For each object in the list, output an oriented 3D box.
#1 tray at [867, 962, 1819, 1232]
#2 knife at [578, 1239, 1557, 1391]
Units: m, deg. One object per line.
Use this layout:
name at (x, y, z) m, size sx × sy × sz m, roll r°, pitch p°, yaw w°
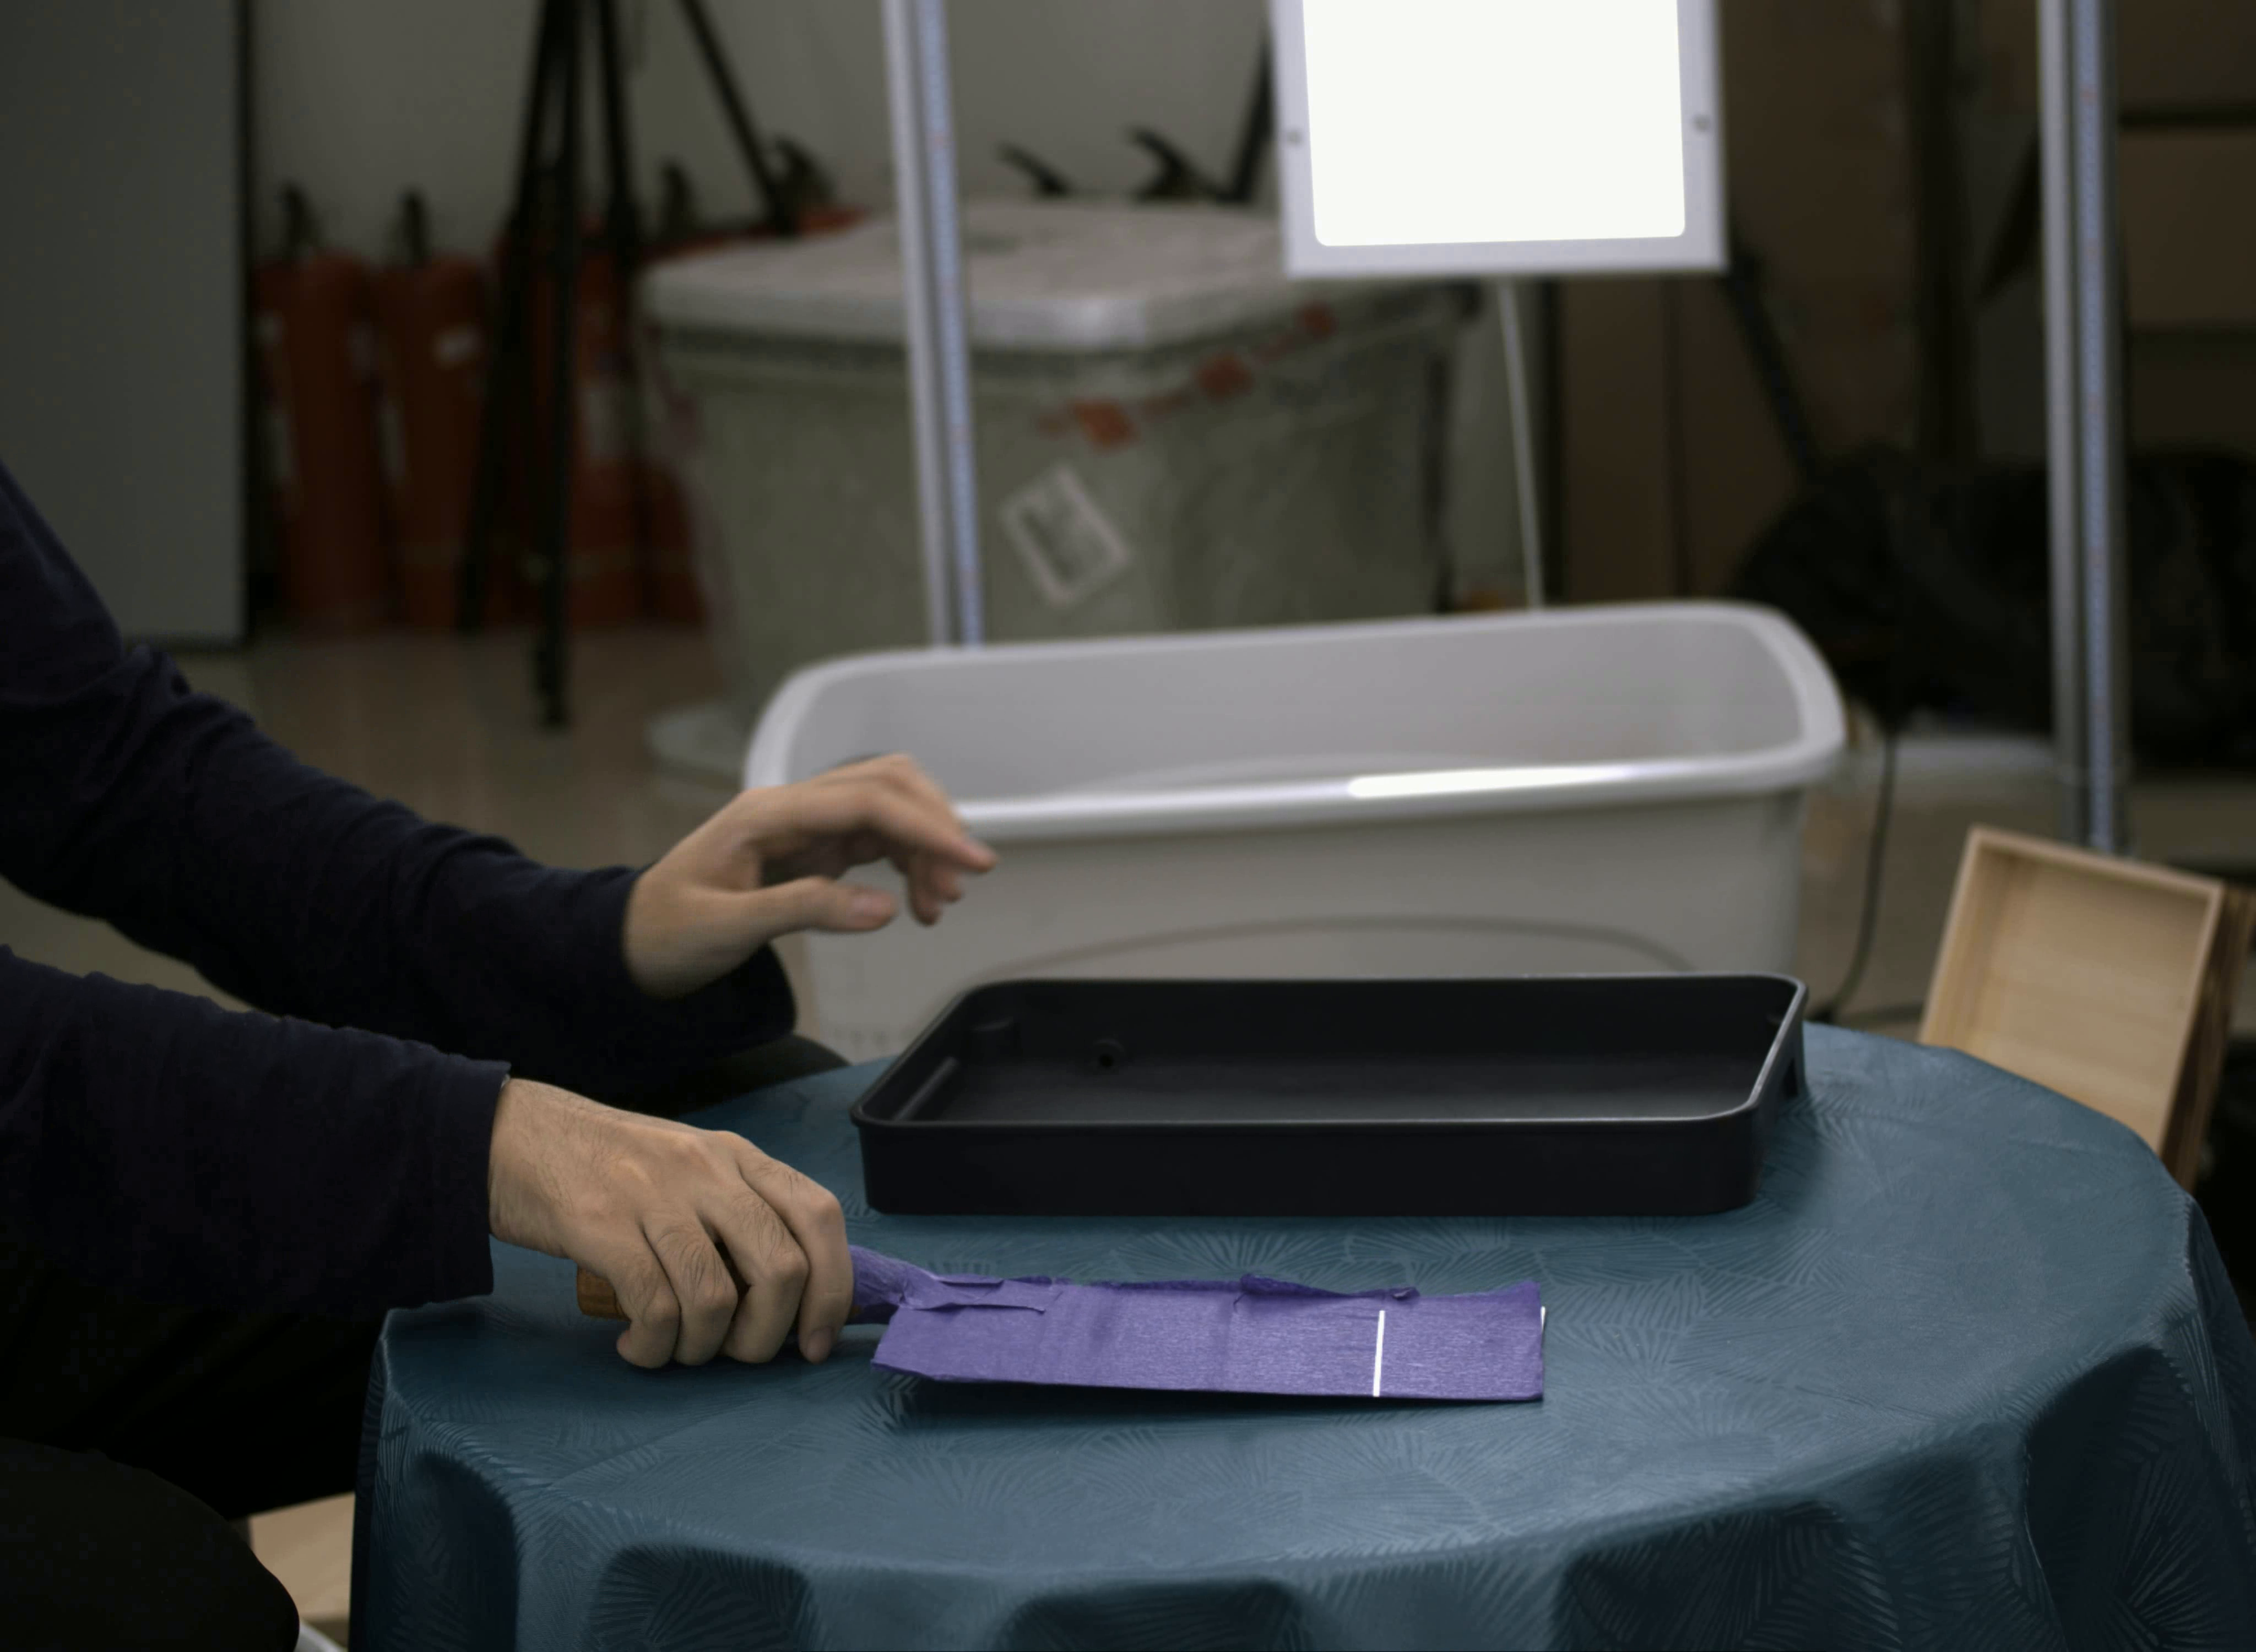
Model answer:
tray at (0.080, 0.094, 1.937) m, size 0.321 × 0.037 × 0.182 m, roll -3°, pitch 14°, yaw 15°
knife at (-0.023, 0.154, 1.726) m, size 0.316 × 0.032 × 0.103 m, roll -1°, pitch 13°, yaw 9°
